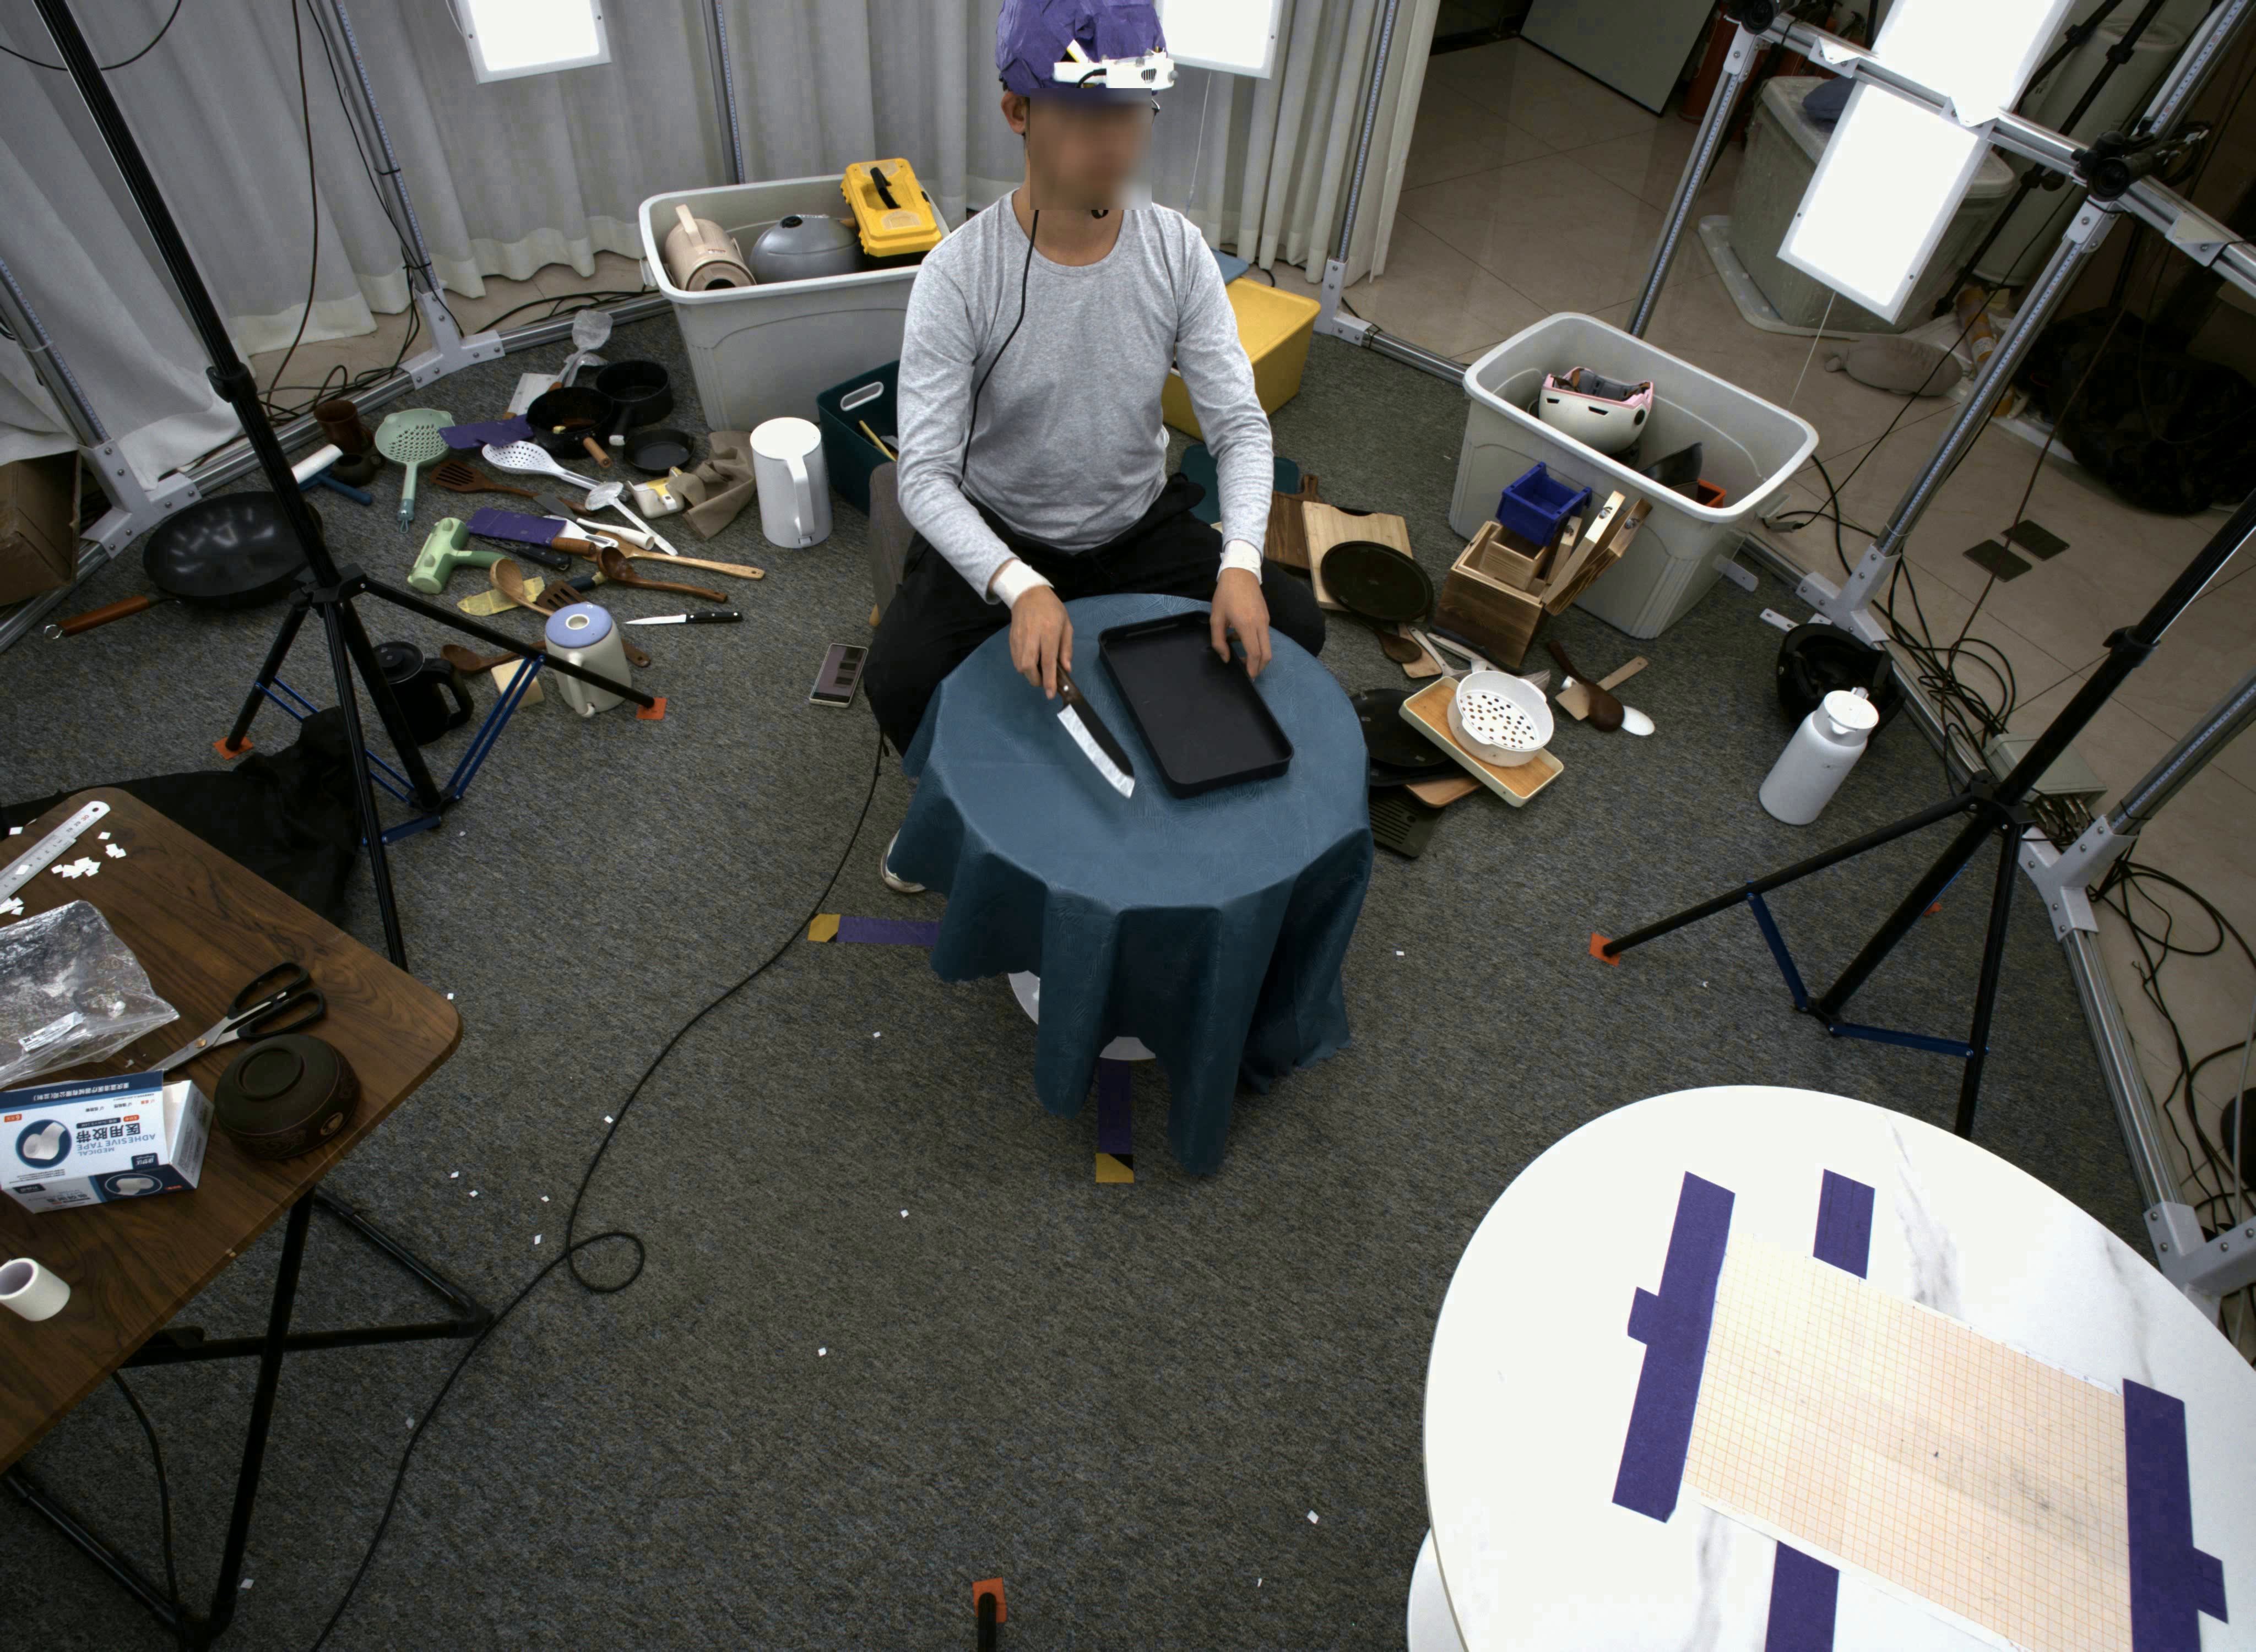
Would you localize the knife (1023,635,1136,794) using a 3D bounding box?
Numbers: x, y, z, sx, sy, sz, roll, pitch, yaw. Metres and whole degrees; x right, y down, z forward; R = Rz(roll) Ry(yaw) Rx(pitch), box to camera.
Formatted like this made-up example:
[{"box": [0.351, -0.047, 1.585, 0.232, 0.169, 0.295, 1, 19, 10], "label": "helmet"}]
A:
[{"box": [-0.065, -0.151, 1.707, 0.050, 0.020, 0.295, -39, 61, 10], "label": "knife"}]

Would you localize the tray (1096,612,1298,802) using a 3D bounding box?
[{"box": [0.091, -0.173, 1.801, 0.184, 0.036, 0.325, -15, 51, -16], "label": "tray"}]
